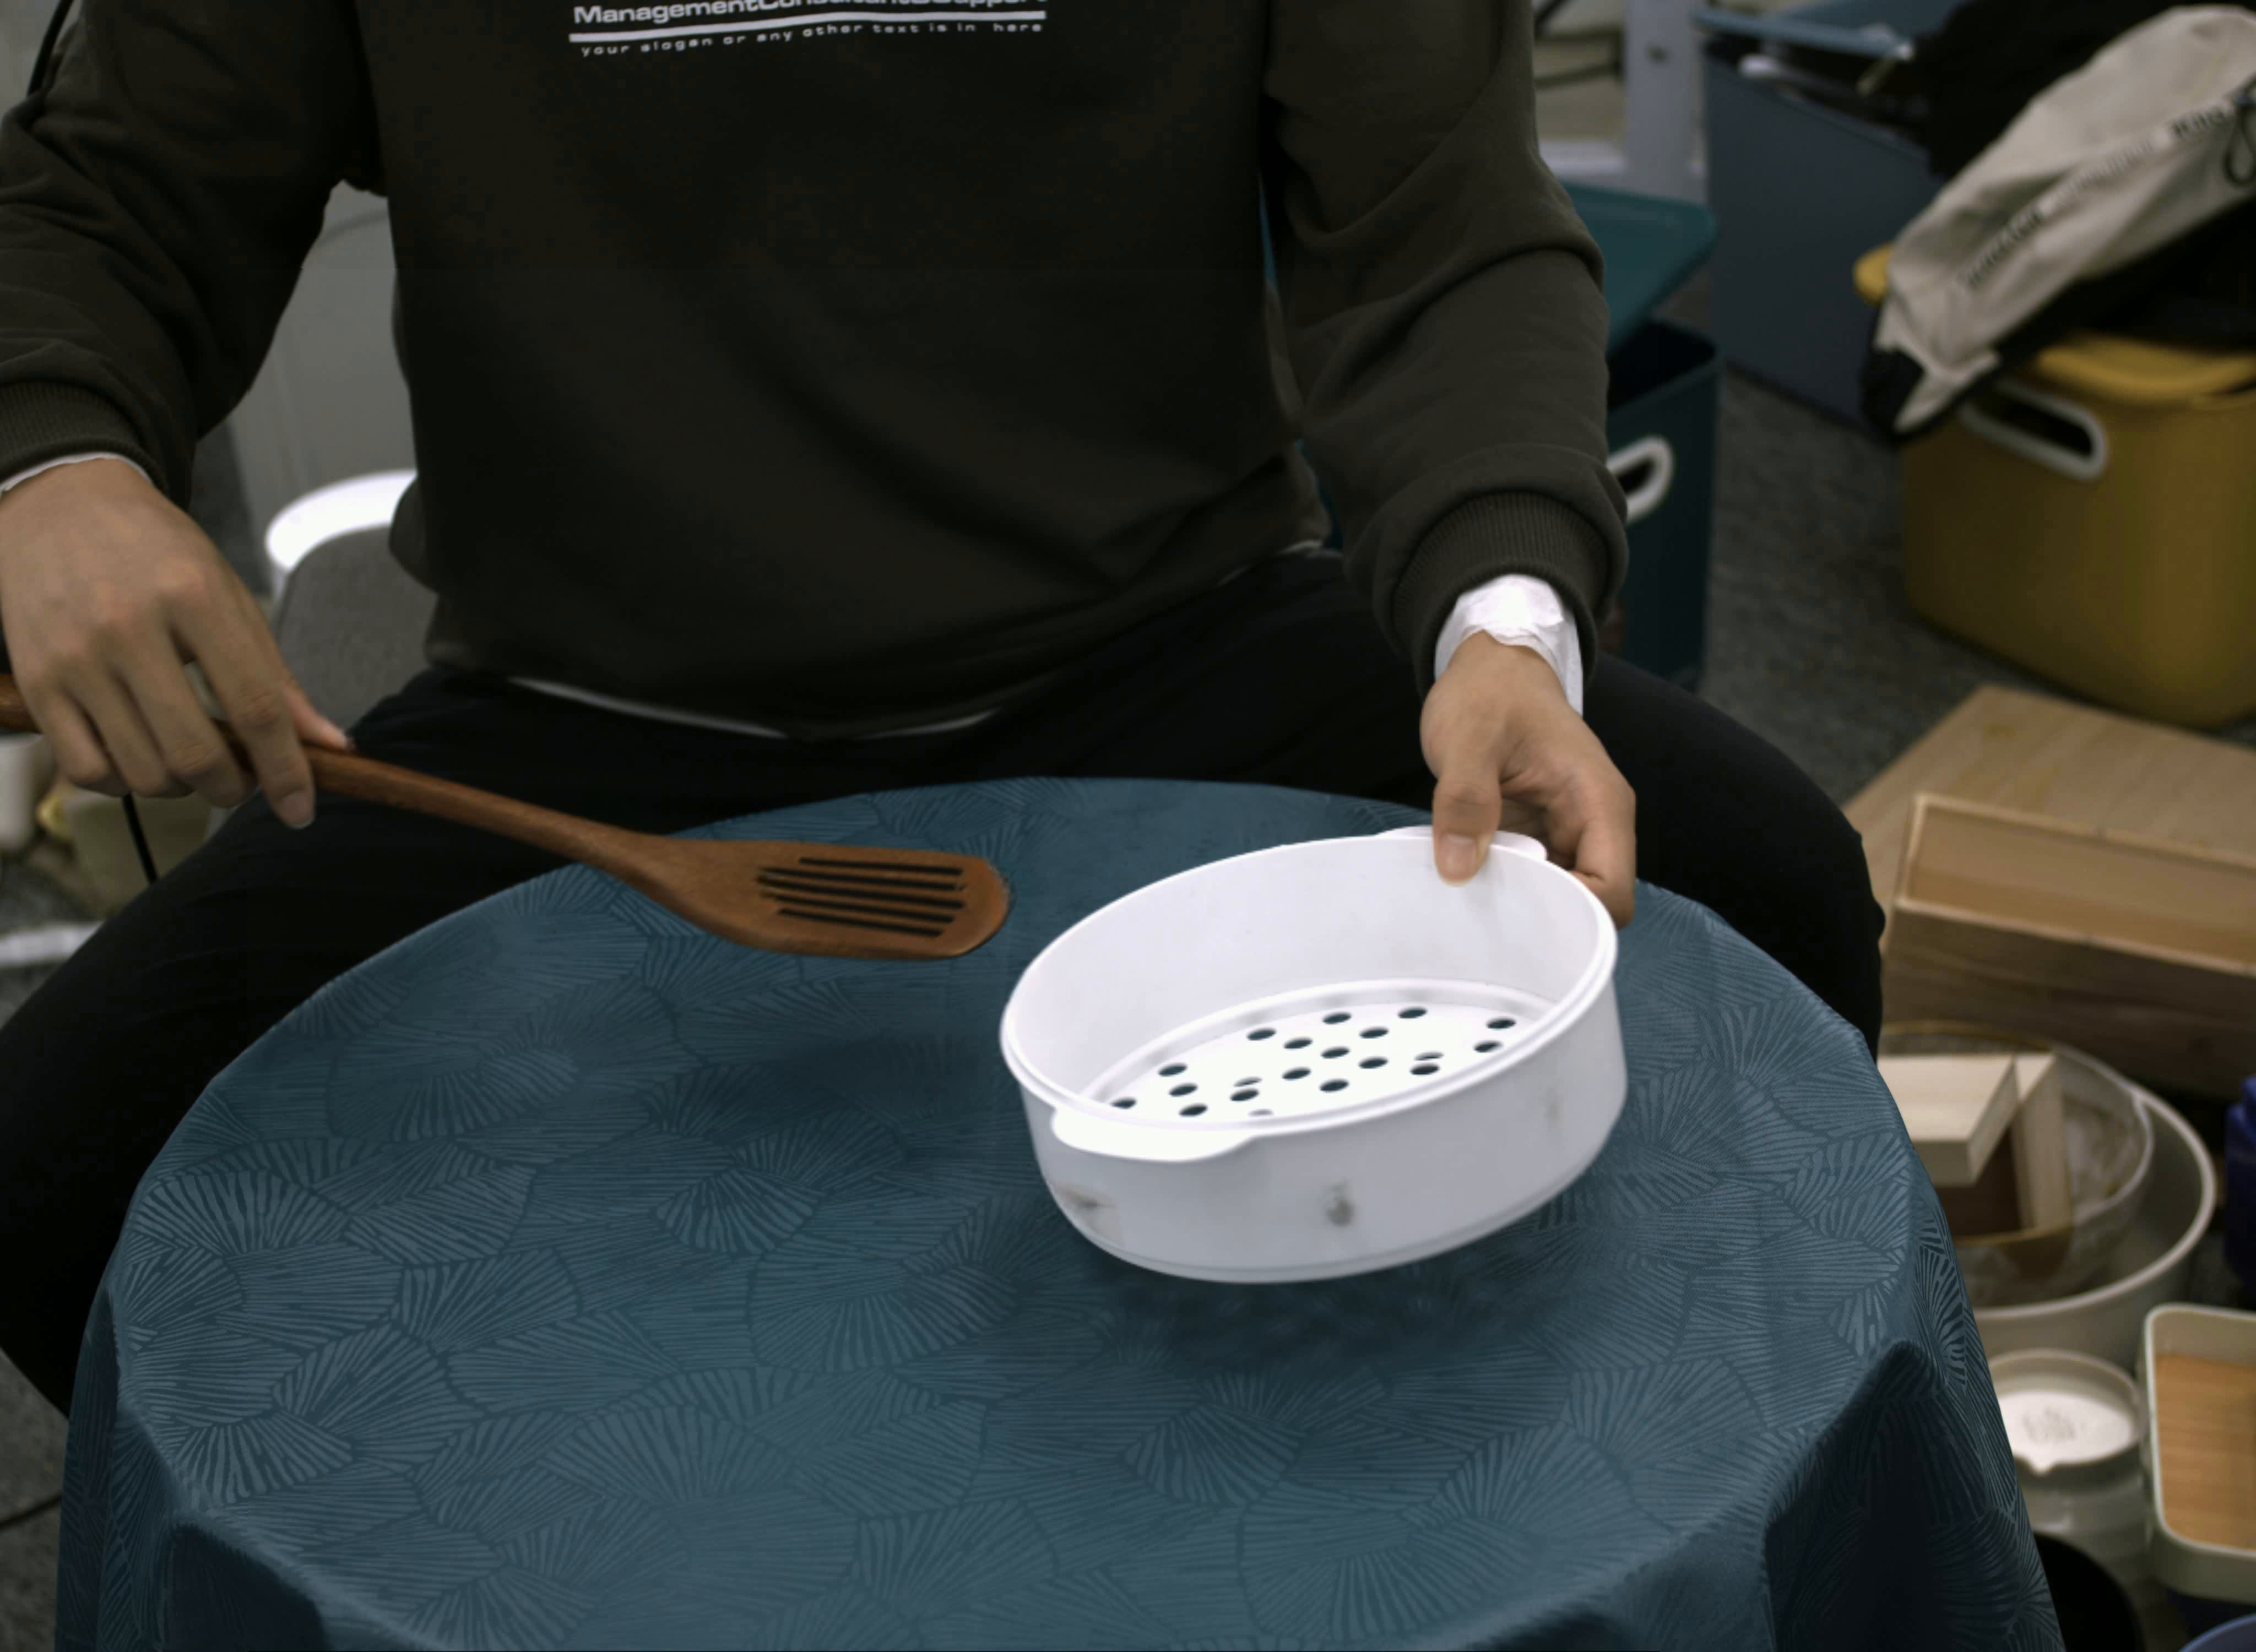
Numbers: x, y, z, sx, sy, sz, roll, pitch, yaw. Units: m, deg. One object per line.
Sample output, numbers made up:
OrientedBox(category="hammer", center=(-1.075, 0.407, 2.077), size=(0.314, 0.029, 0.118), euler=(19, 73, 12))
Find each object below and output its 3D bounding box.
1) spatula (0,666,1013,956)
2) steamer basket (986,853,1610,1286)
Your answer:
OrientedBox(category="spatula", center=(-0.230, -0.006, 1.920), size=(0.384, 0.023, 0.087), euler=(13, 23, 0))
OrientedBox(category="steamer basket", center=(0.057, 0.079, 1.812), size=(0.200, 0.069, 0.234), euler=(8, 26, 33))
